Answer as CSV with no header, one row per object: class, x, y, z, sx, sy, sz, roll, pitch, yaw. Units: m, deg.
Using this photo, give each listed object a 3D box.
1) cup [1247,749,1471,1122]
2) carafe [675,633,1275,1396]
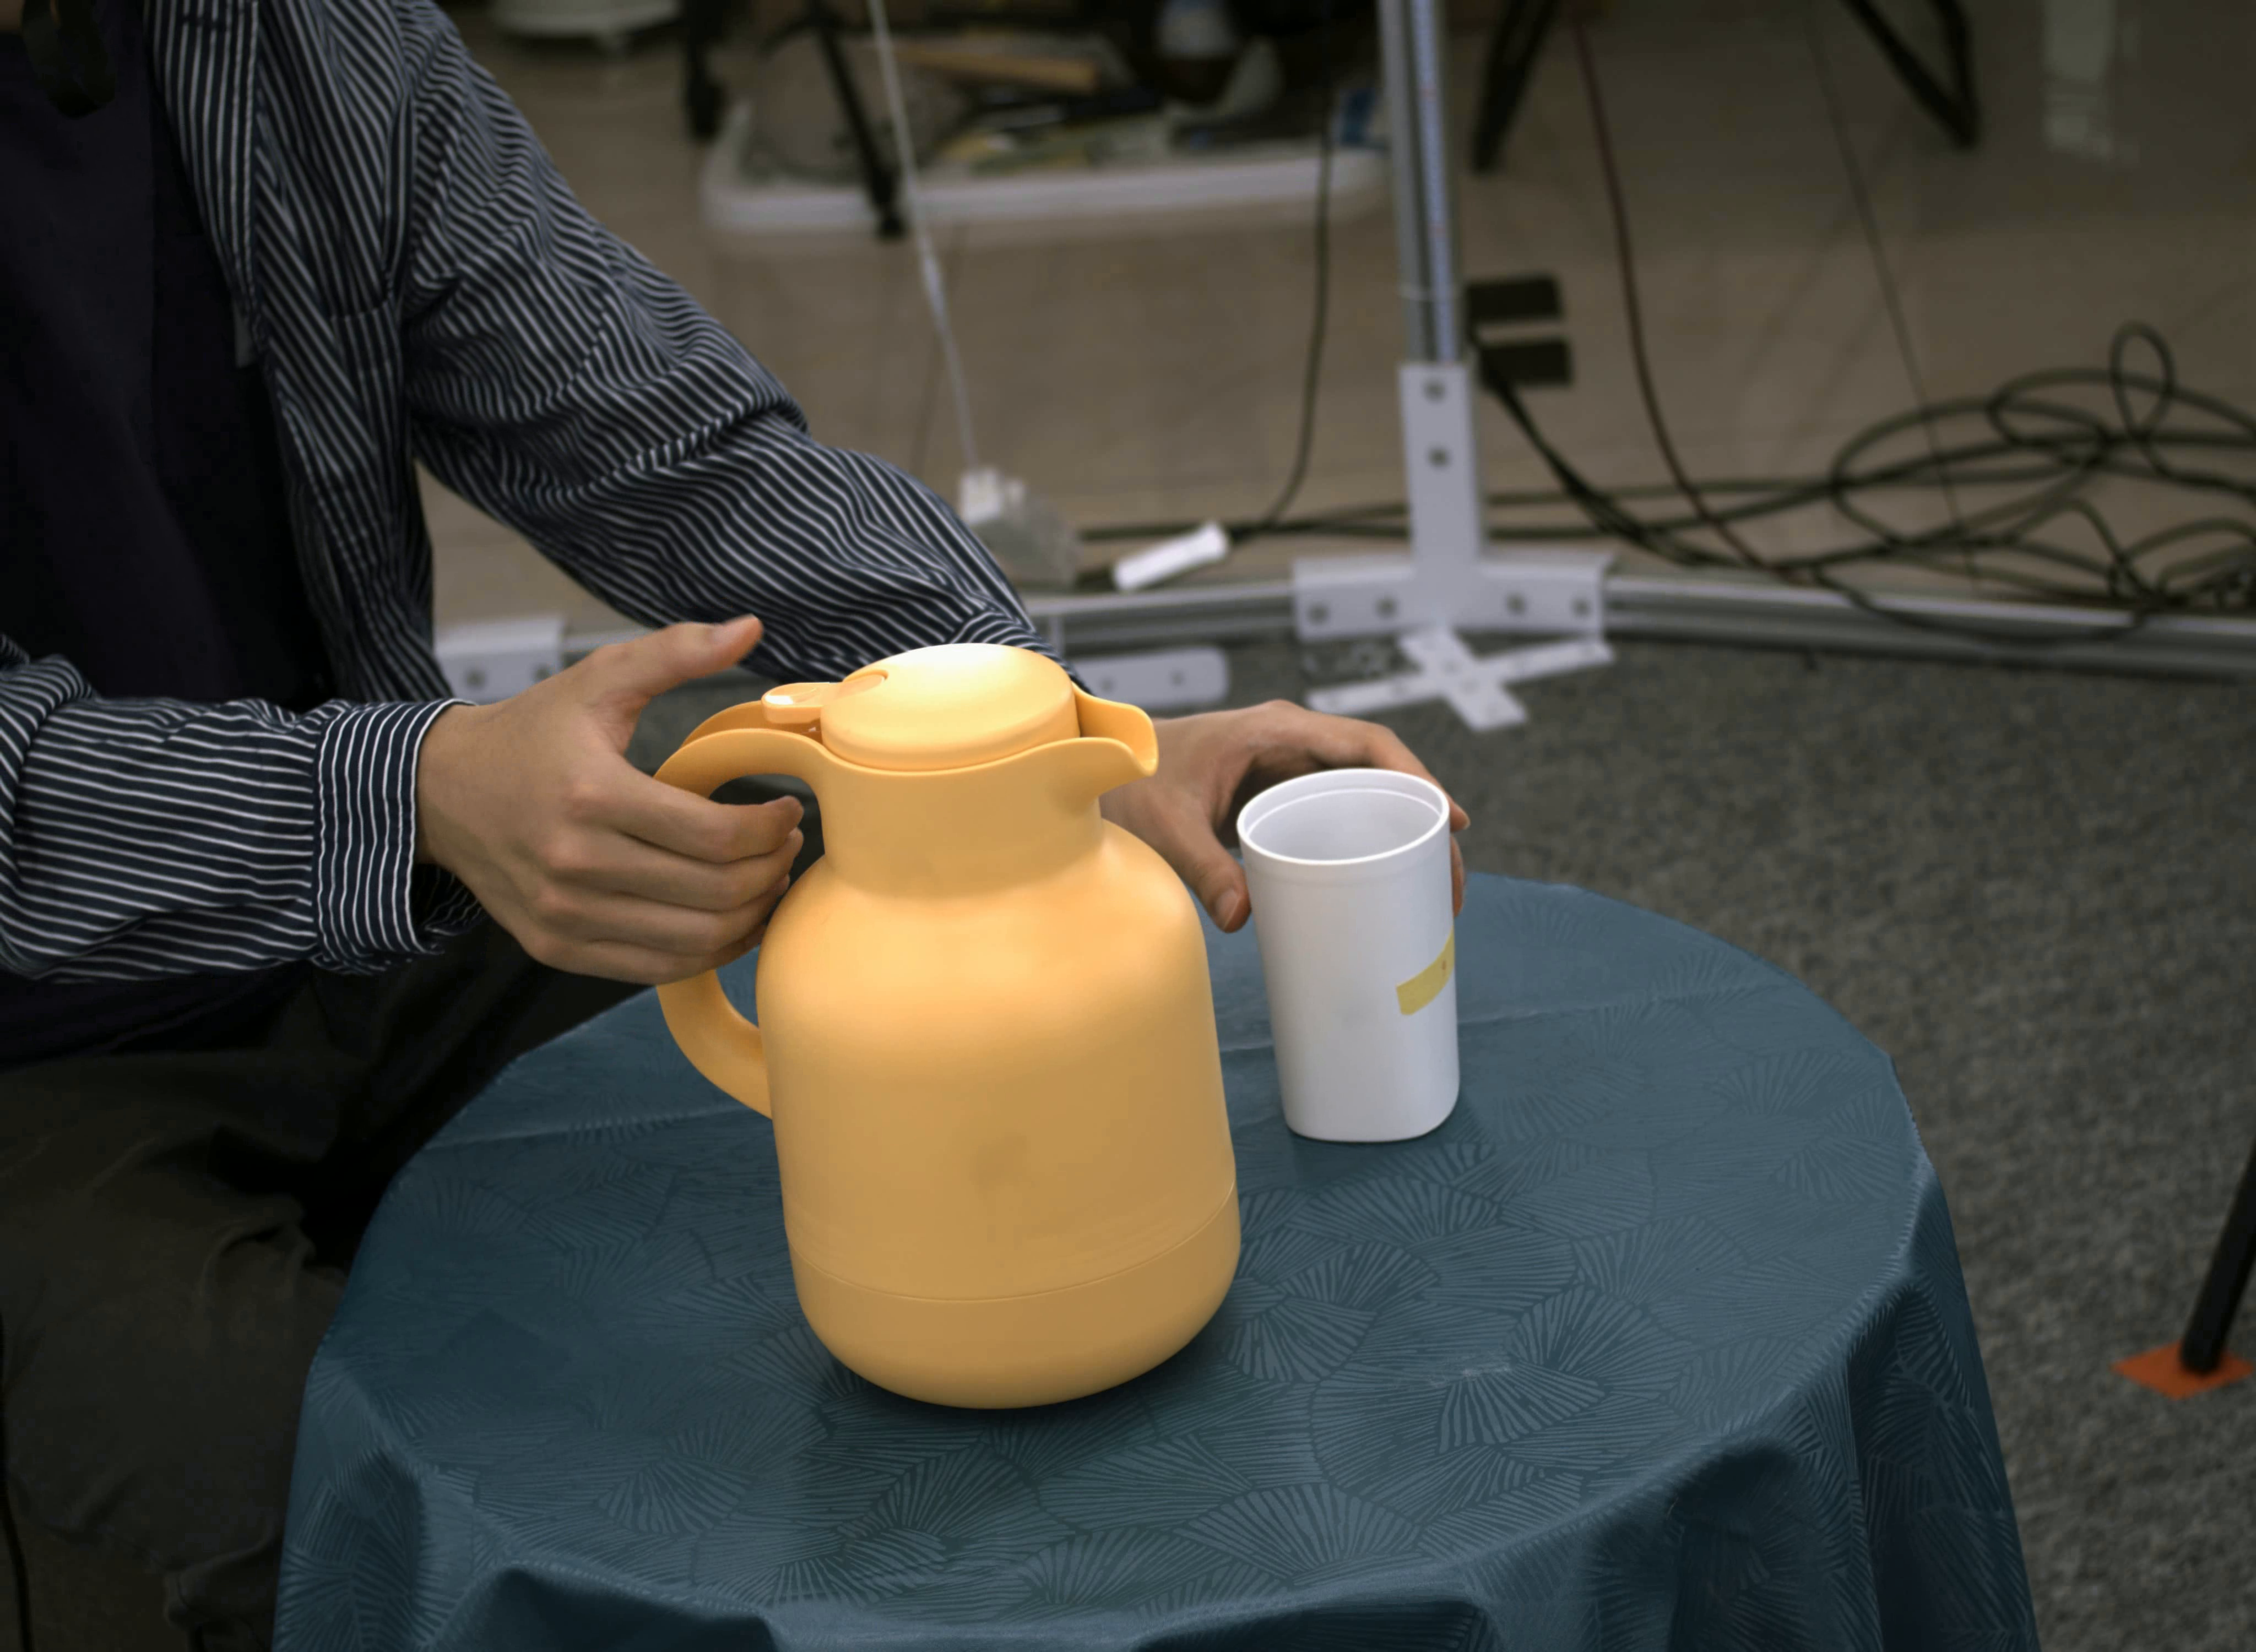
cup,0.093,0.044,2.175,0.081,0.127,0.080,-6,27,3
carafe,-0.055,0.061,2.019,0.202,0.264,0.161,2,27,16
